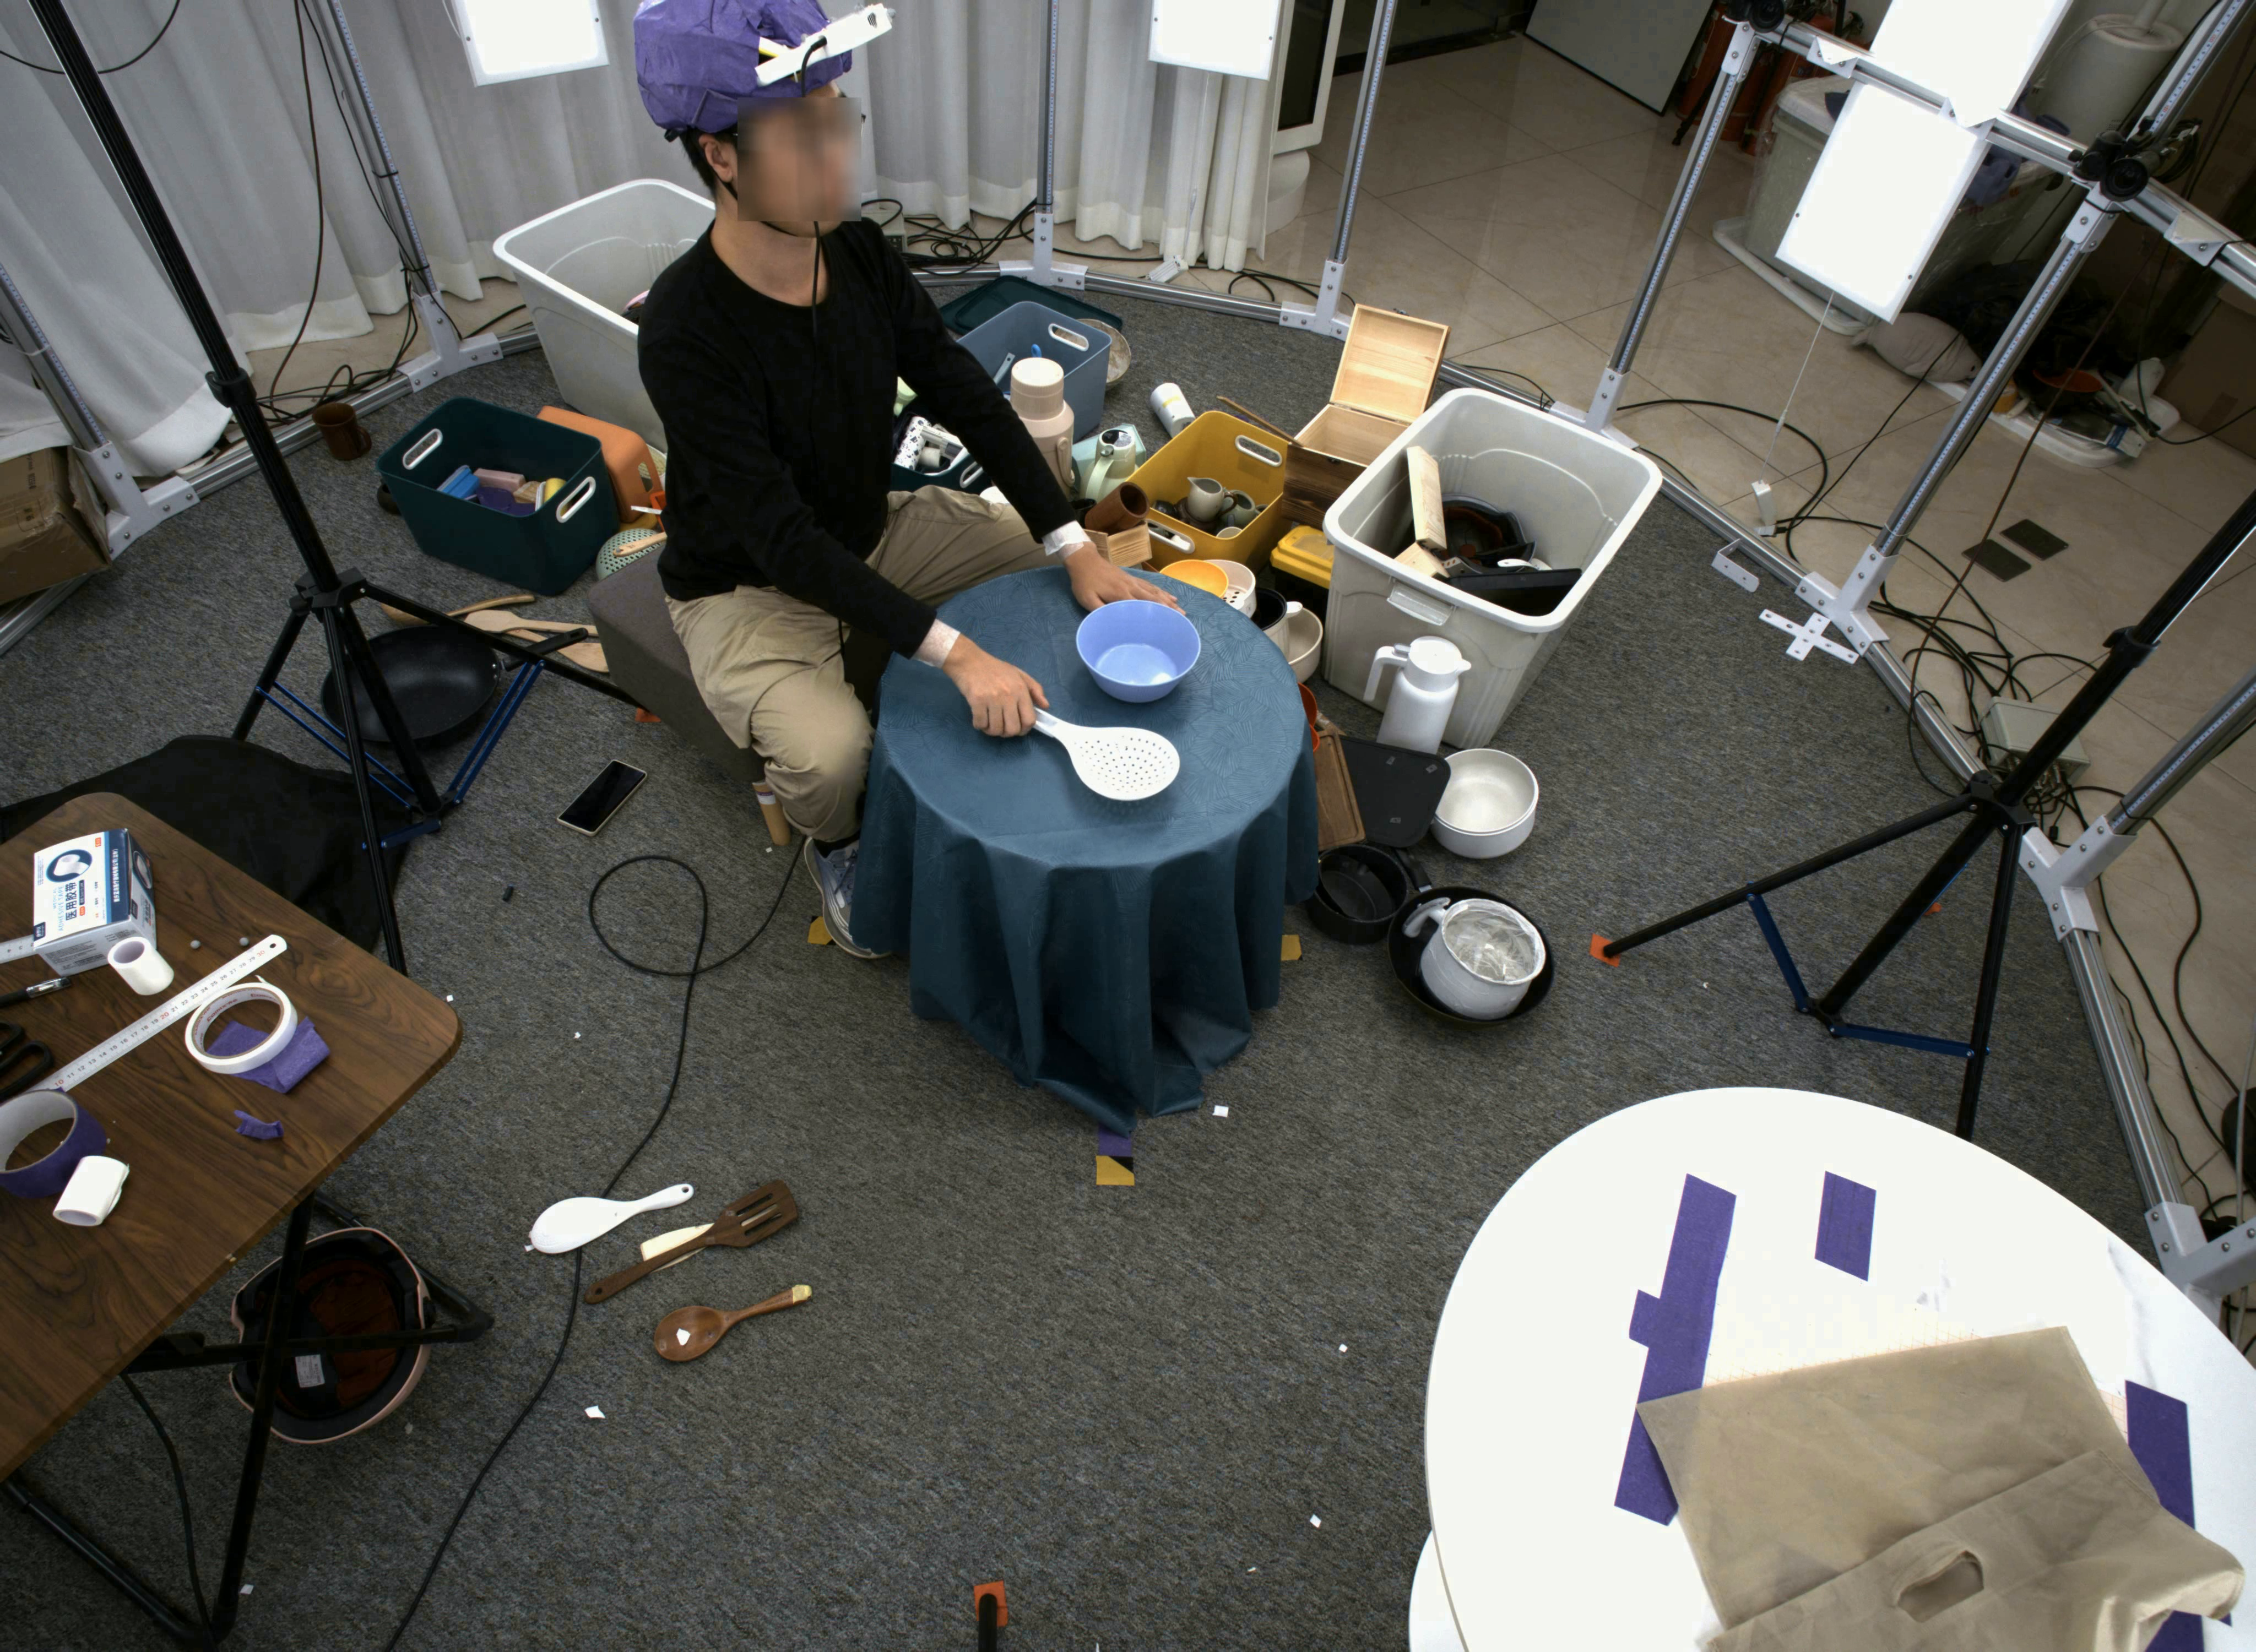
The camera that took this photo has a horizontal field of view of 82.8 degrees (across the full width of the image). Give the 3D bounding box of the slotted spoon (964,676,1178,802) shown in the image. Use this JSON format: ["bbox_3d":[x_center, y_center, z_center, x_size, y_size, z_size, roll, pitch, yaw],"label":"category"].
[{"bbox_3d":[-0.087,-0.126,1.743,0.354,0.044,0.138,32,55,23],"label":"slotted spoon"}]

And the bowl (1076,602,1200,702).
[{"bbox_3d":[0.012,-0.241,1.834,0.176,0.068,0.180,1,49,-2],"label":"bowl"}]
